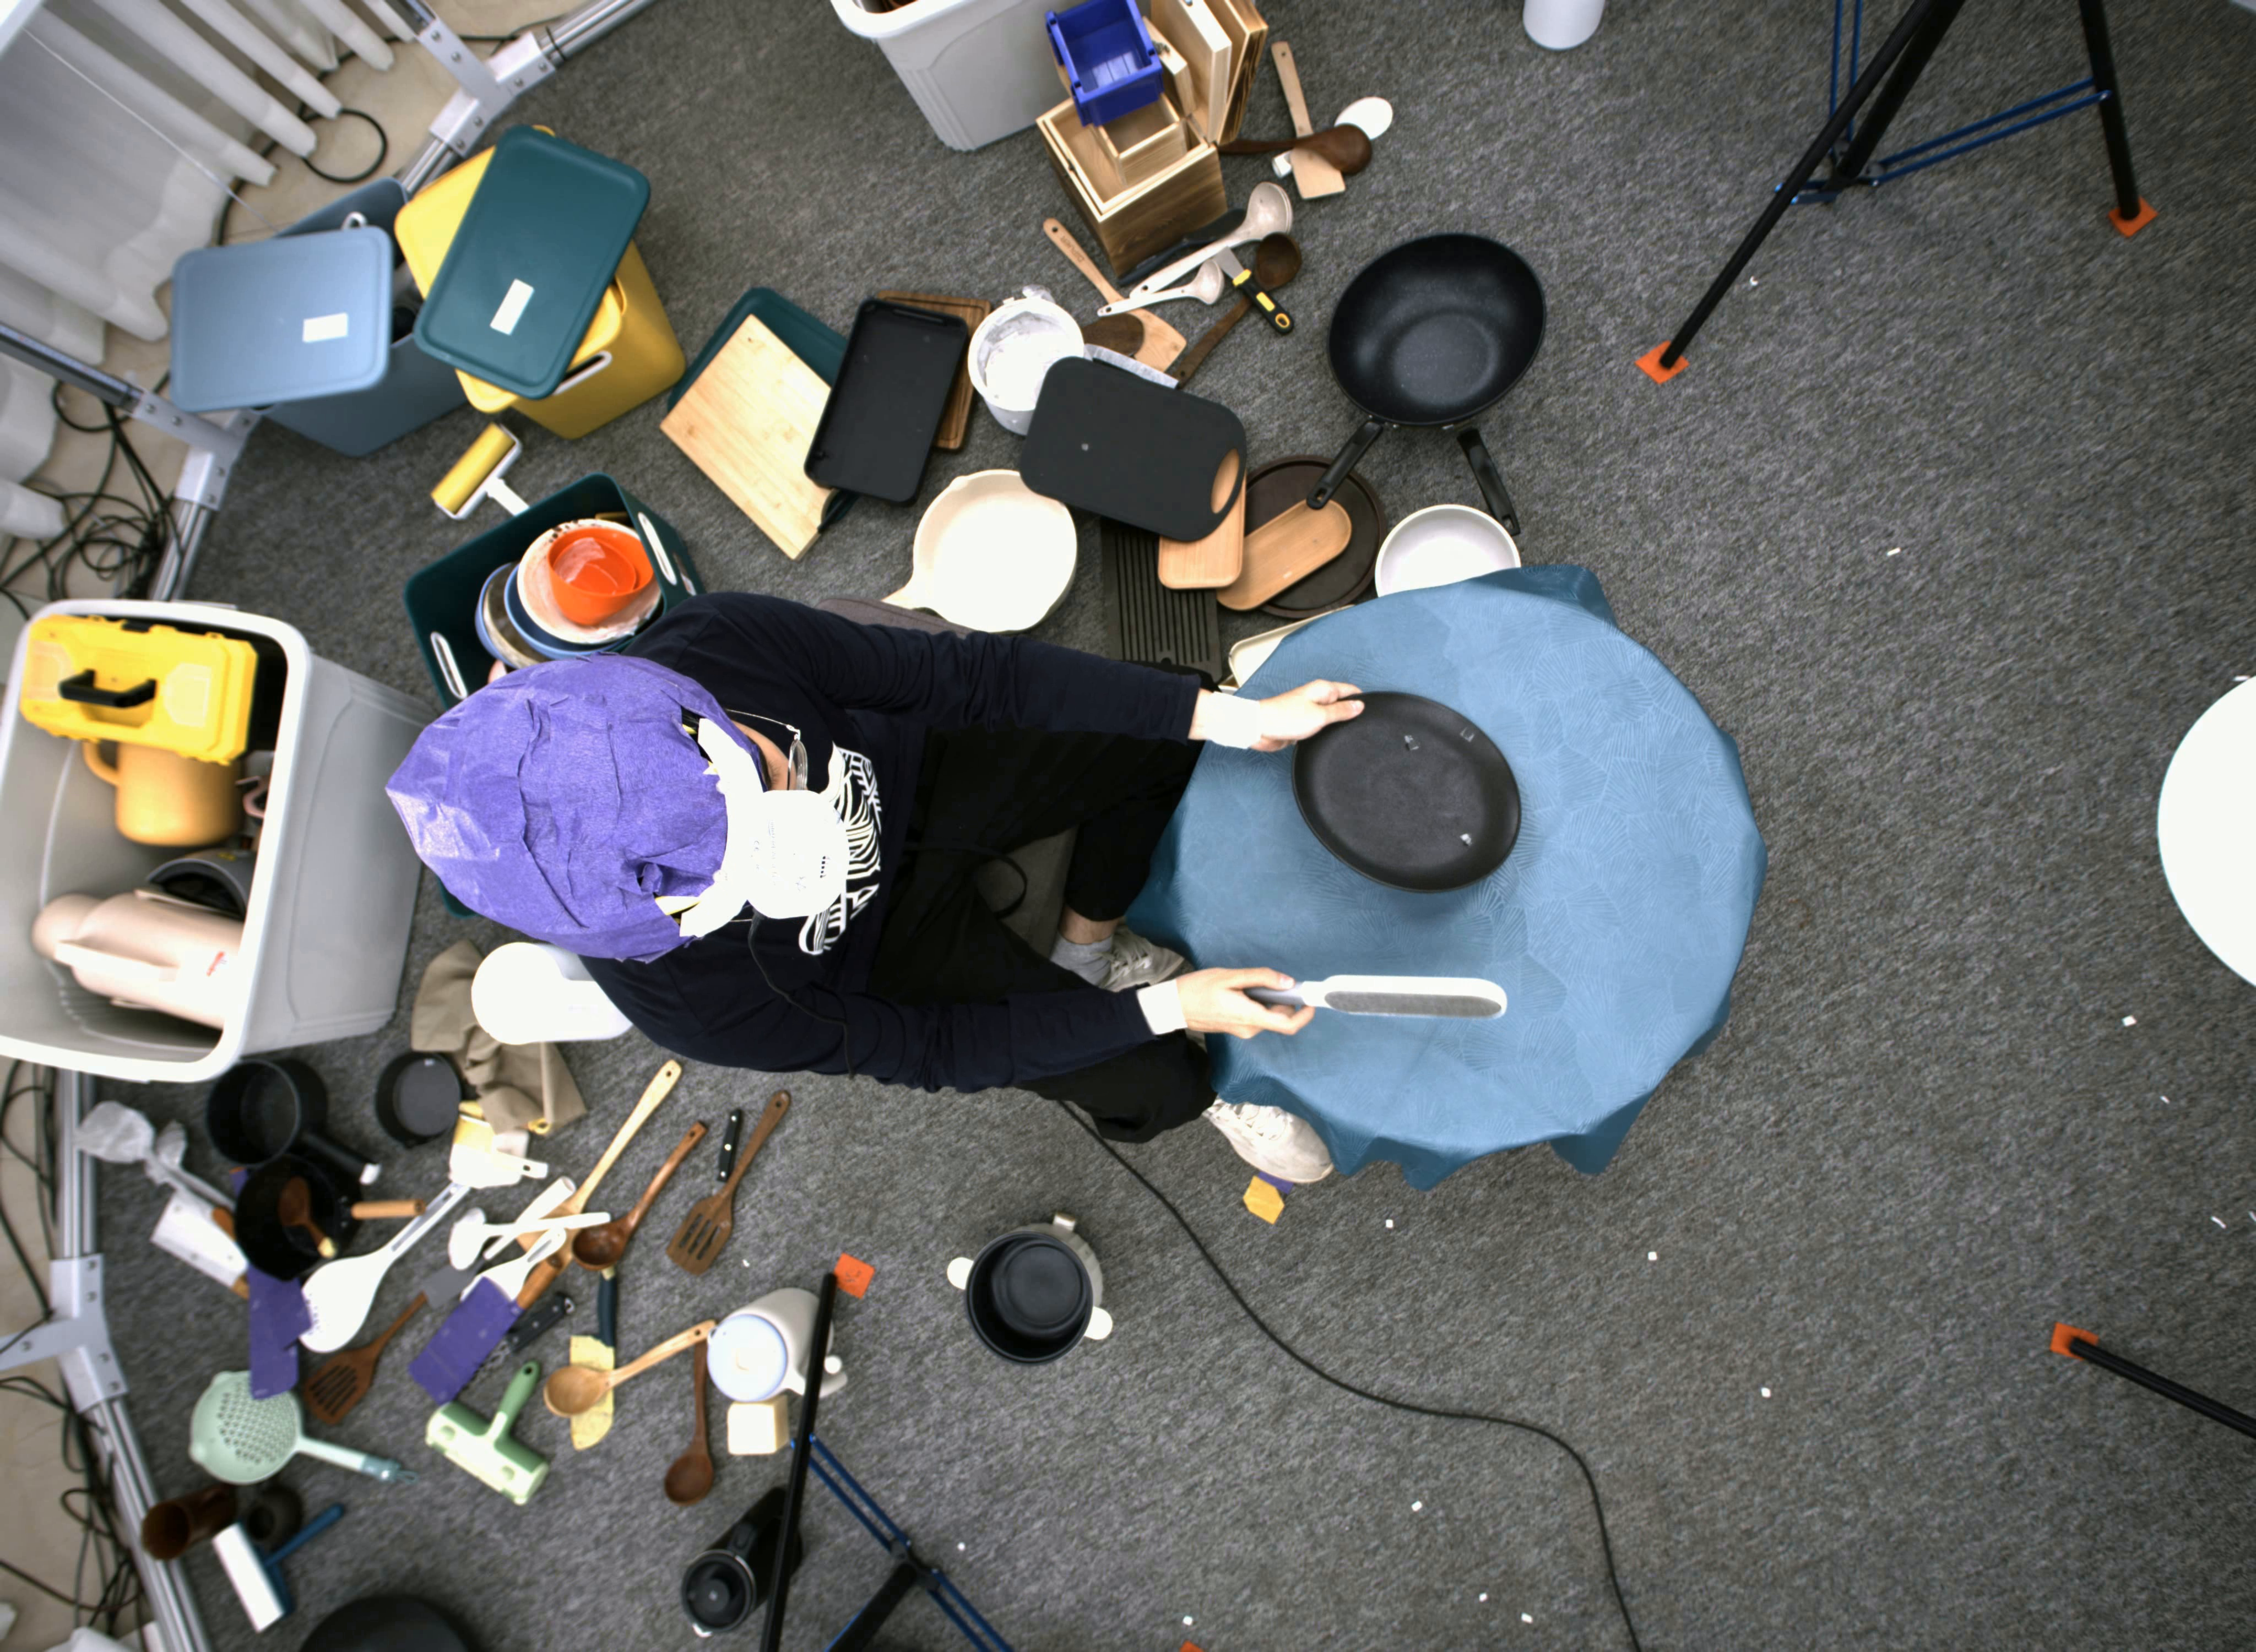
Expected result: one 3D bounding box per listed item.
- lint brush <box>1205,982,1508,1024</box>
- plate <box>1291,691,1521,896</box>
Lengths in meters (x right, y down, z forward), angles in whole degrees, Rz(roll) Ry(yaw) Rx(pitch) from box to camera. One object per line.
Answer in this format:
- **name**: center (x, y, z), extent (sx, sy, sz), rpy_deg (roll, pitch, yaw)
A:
- **lint brush**: center (0.220, 0.170, 1.370), extent (0.311, 0.061, 0.020), rpy_deg (-1, 62, 26)
- **plate**: center (0.283, -0.034, 1.406), extent (0.244, 0.024, 0.239), rpy_deg (4, 62, -8)
